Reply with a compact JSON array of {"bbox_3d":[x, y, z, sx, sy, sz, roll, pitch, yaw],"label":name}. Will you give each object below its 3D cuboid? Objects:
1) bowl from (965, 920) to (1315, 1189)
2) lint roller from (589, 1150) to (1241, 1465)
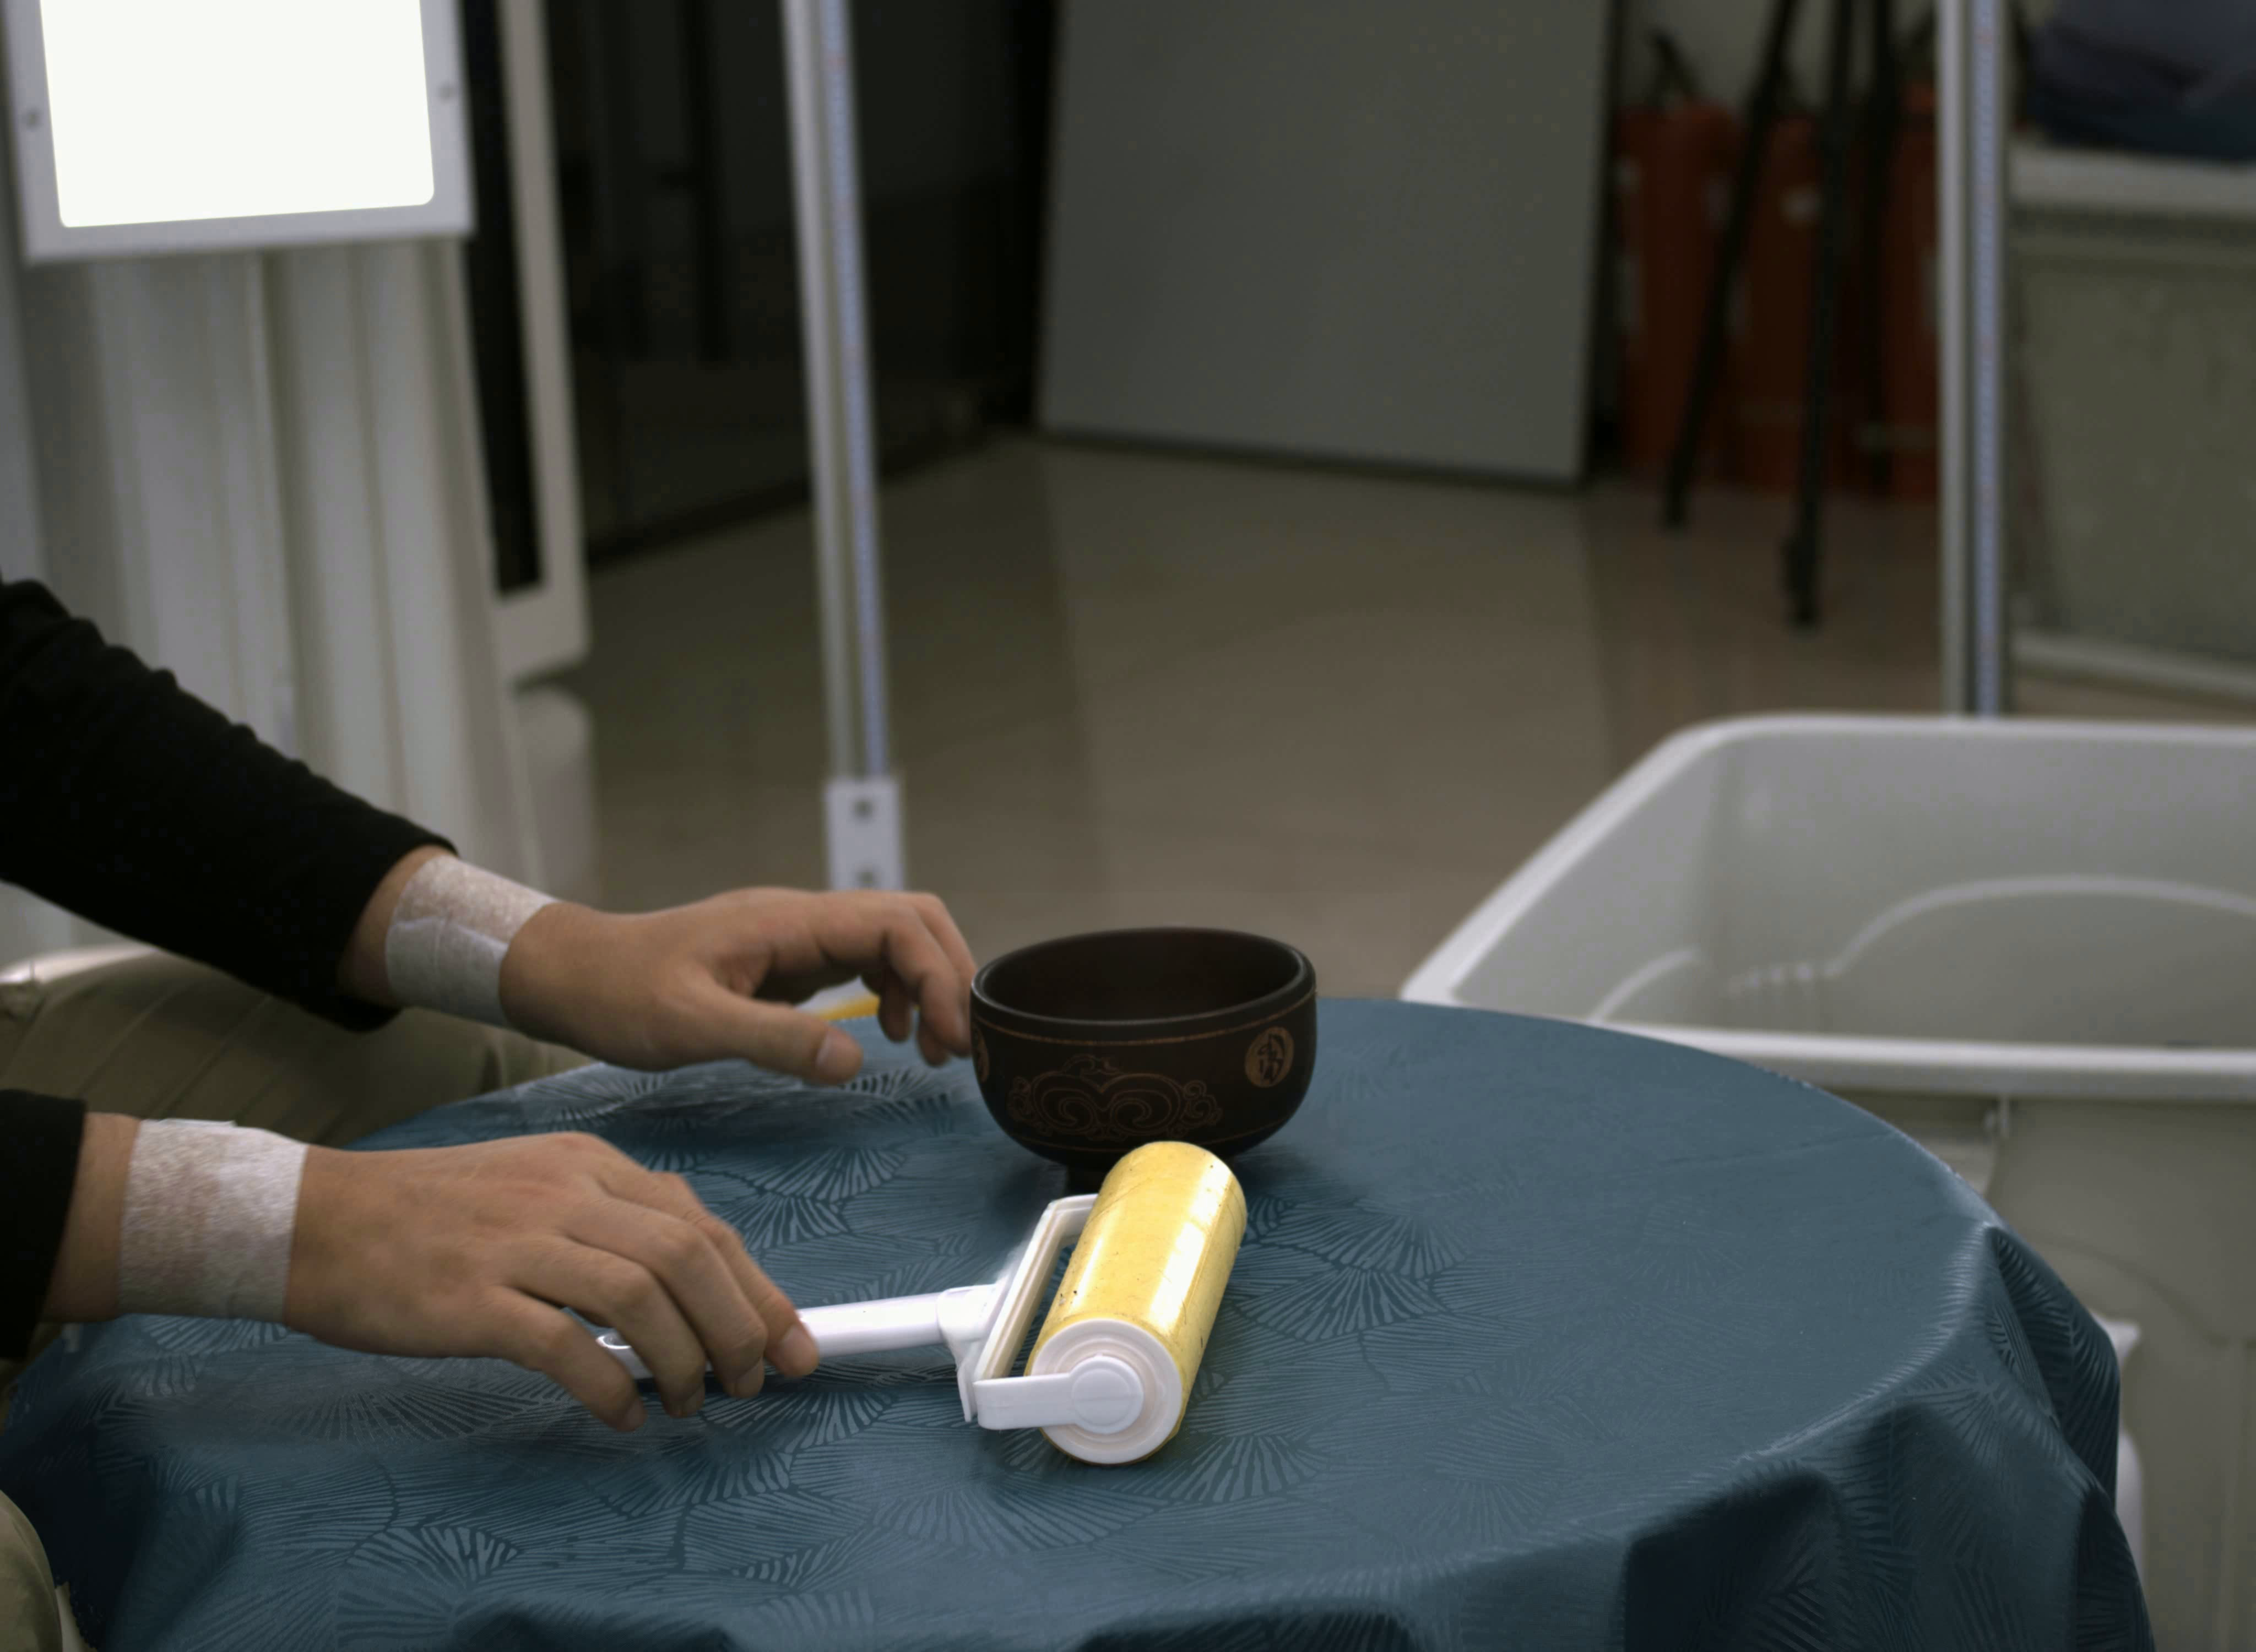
[{"bbox_3d":[0.005,0.079,1.782,0.116,0.070,0.118,-3,13,0],"label":"bowl"},{"bbox_3d":[-0.066,0.140,1.604,0.190,0.052,0.174,2,14,6],"label":"lint roller"}]
